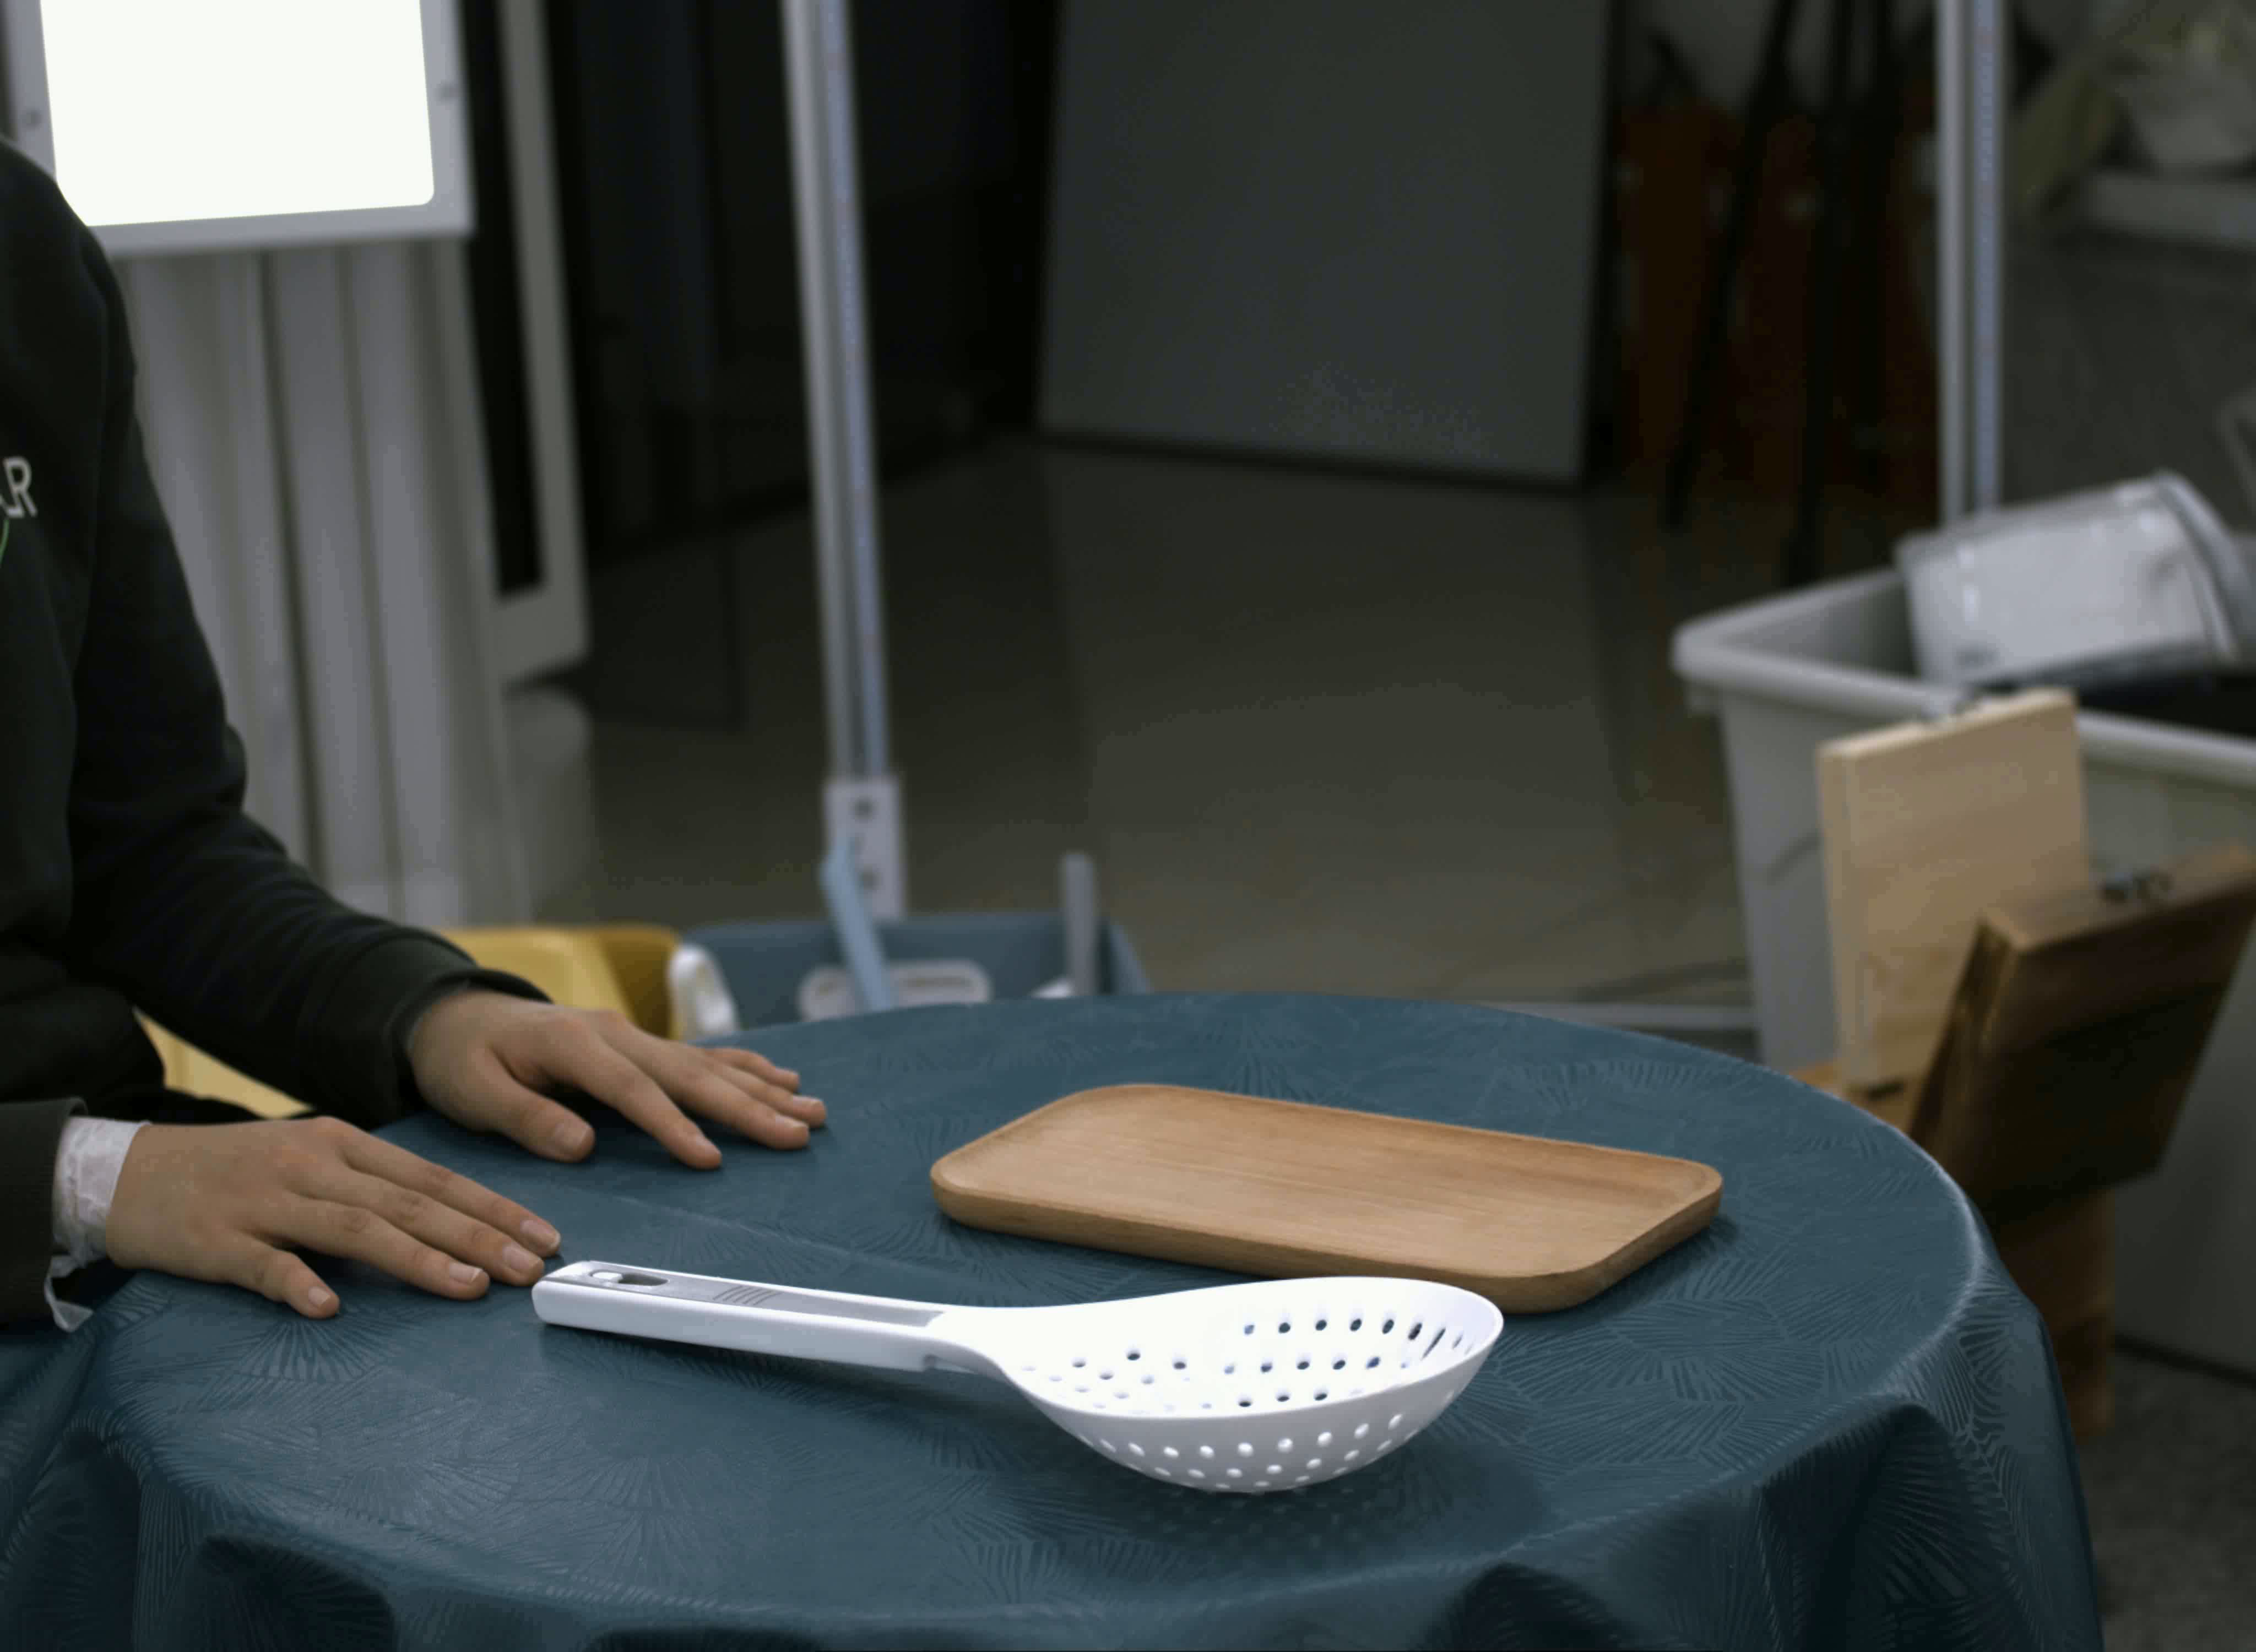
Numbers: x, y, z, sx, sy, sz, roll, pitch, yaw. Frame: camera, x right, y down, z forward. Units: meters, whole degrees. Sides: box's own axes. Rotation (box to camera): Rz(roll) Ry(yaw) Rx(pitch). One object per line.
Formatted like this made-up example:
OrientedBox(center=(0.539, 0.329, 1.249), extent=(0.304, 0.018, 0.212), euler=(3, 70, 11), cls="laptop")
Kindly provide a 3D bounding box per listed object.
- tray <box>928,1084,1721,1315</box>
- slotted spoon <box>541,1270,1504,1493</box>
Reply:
OrientedBox(center=(0.062, 0.118, 1.730), extent=(0.252, 0.023, 0.128), euler=(5, 15, 36), cls="tray")
OrientedBox(center=(-0.043, 0.150, 1.572), extent=(0.352, 0.046, 0.133), euler=(7, 15, 40), cls="slotted spoon")
